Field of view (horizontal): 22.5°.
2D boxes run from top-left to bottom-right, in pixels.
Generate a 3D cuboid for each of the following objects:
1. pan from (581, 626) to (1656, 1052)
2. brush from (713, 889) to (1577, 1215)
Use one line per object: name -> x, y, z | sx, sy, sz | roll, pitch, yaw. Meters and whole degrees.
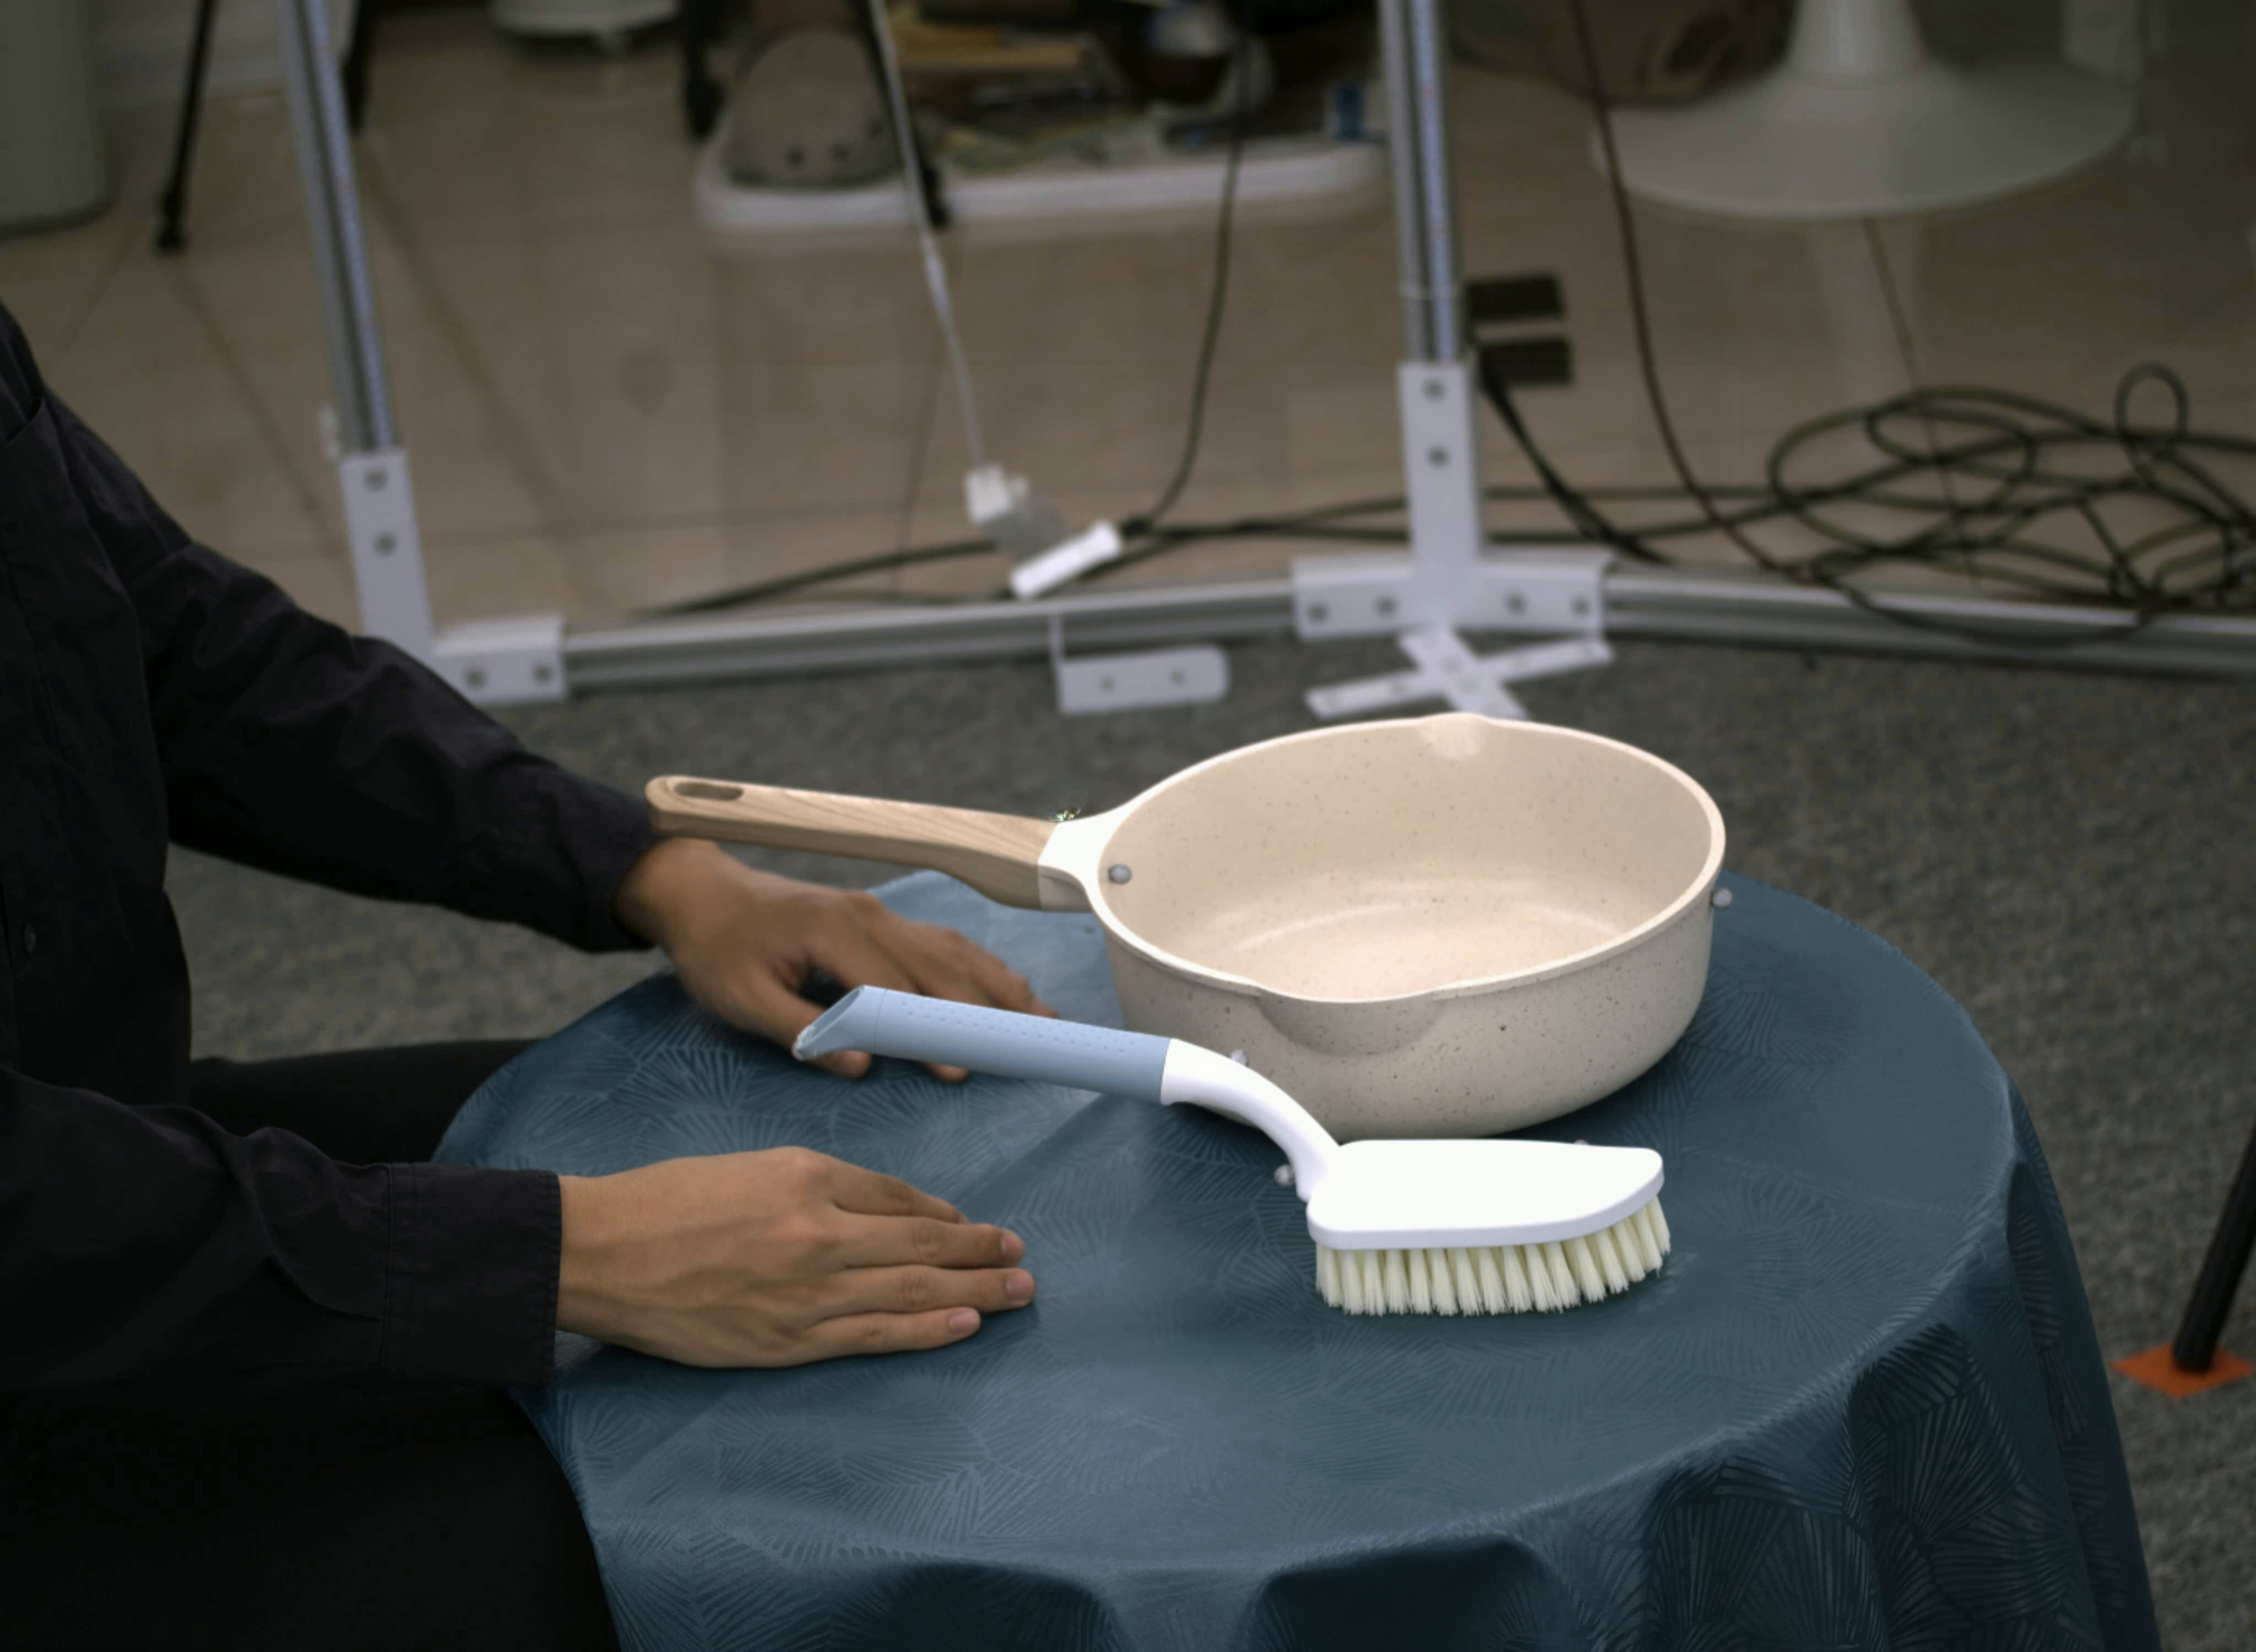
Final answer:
pan -> -0.004, 0.002, 2.268 | 0.434, 0.103, 0.259 | 0, 27, 13
brush -> 0.004, 0.093, 2.092 | 0.324, 0.084, 0.083 | 10, -9, 6
